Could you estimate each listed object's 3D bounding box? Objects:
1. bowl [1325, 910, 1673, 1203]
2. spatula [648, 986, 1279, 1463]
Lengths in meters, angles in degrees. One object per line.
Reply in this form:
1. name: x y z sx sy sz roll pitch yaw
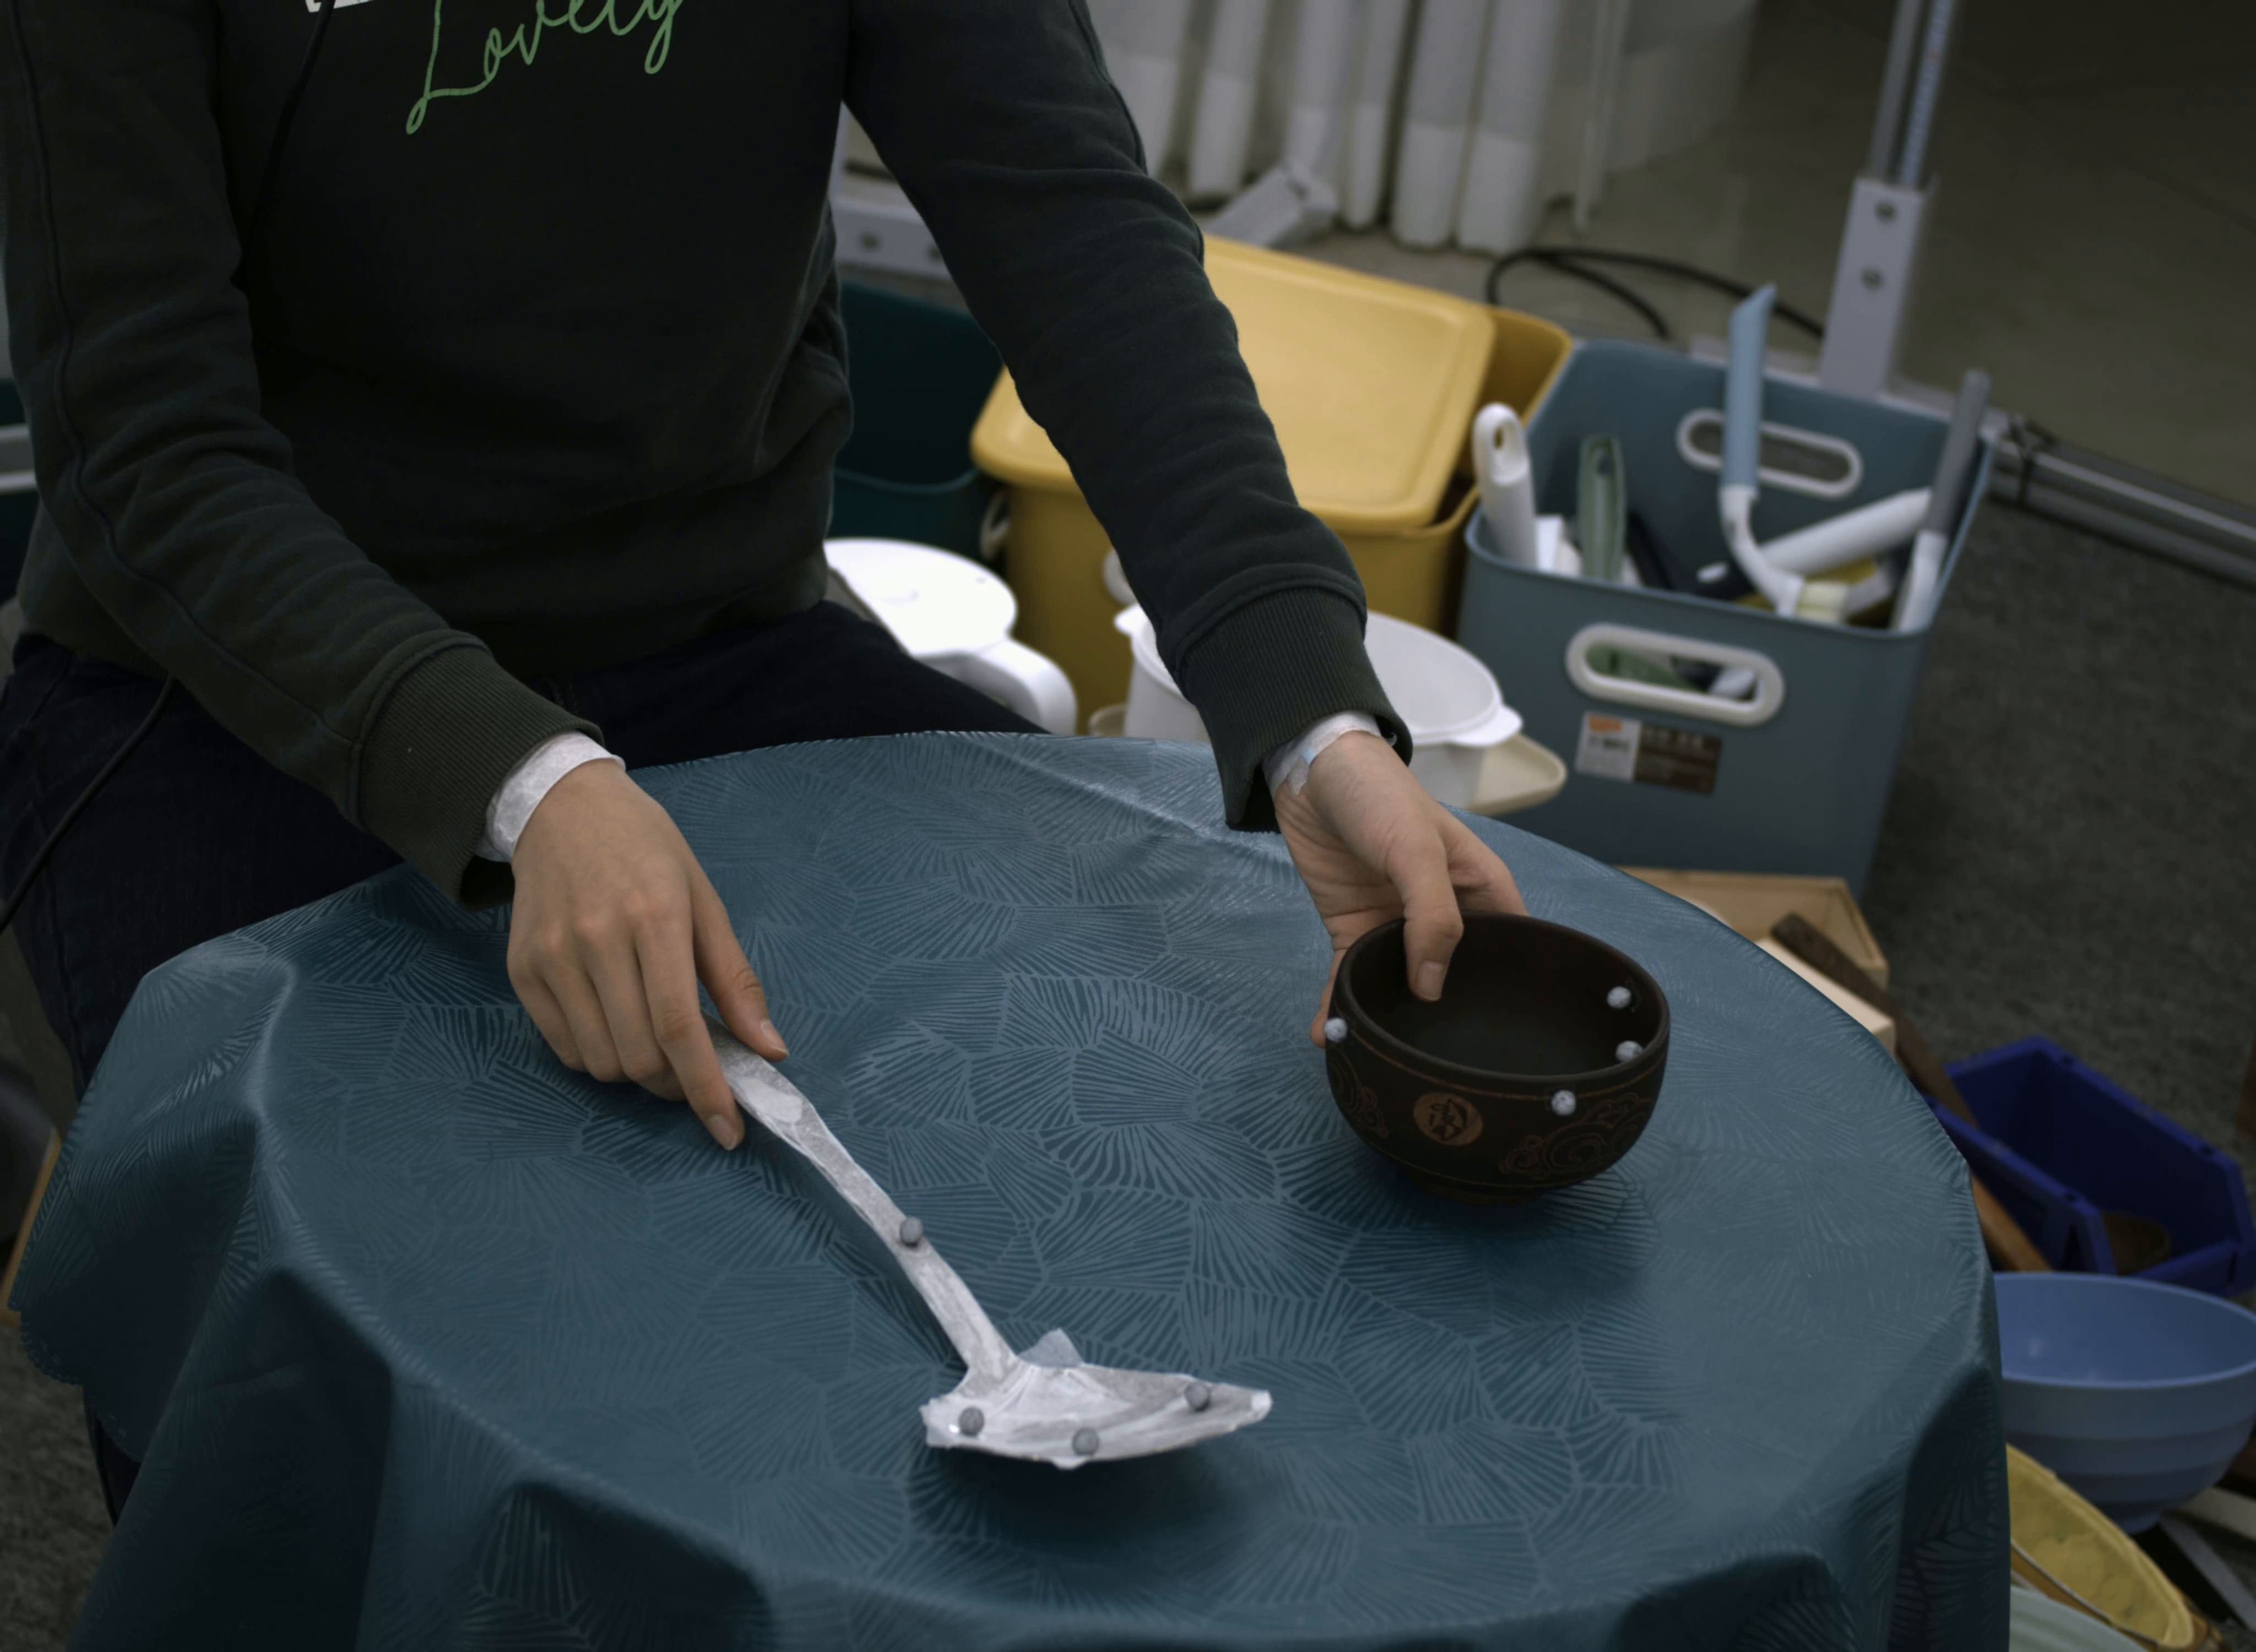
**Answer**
1. bowl: 0.124 0.086 1.824 0.117 0.069 0.119 6 26 -3
2. spatula: -0.078 0.122 1.741 0.098 0.044 0.368 -10 32 -29
